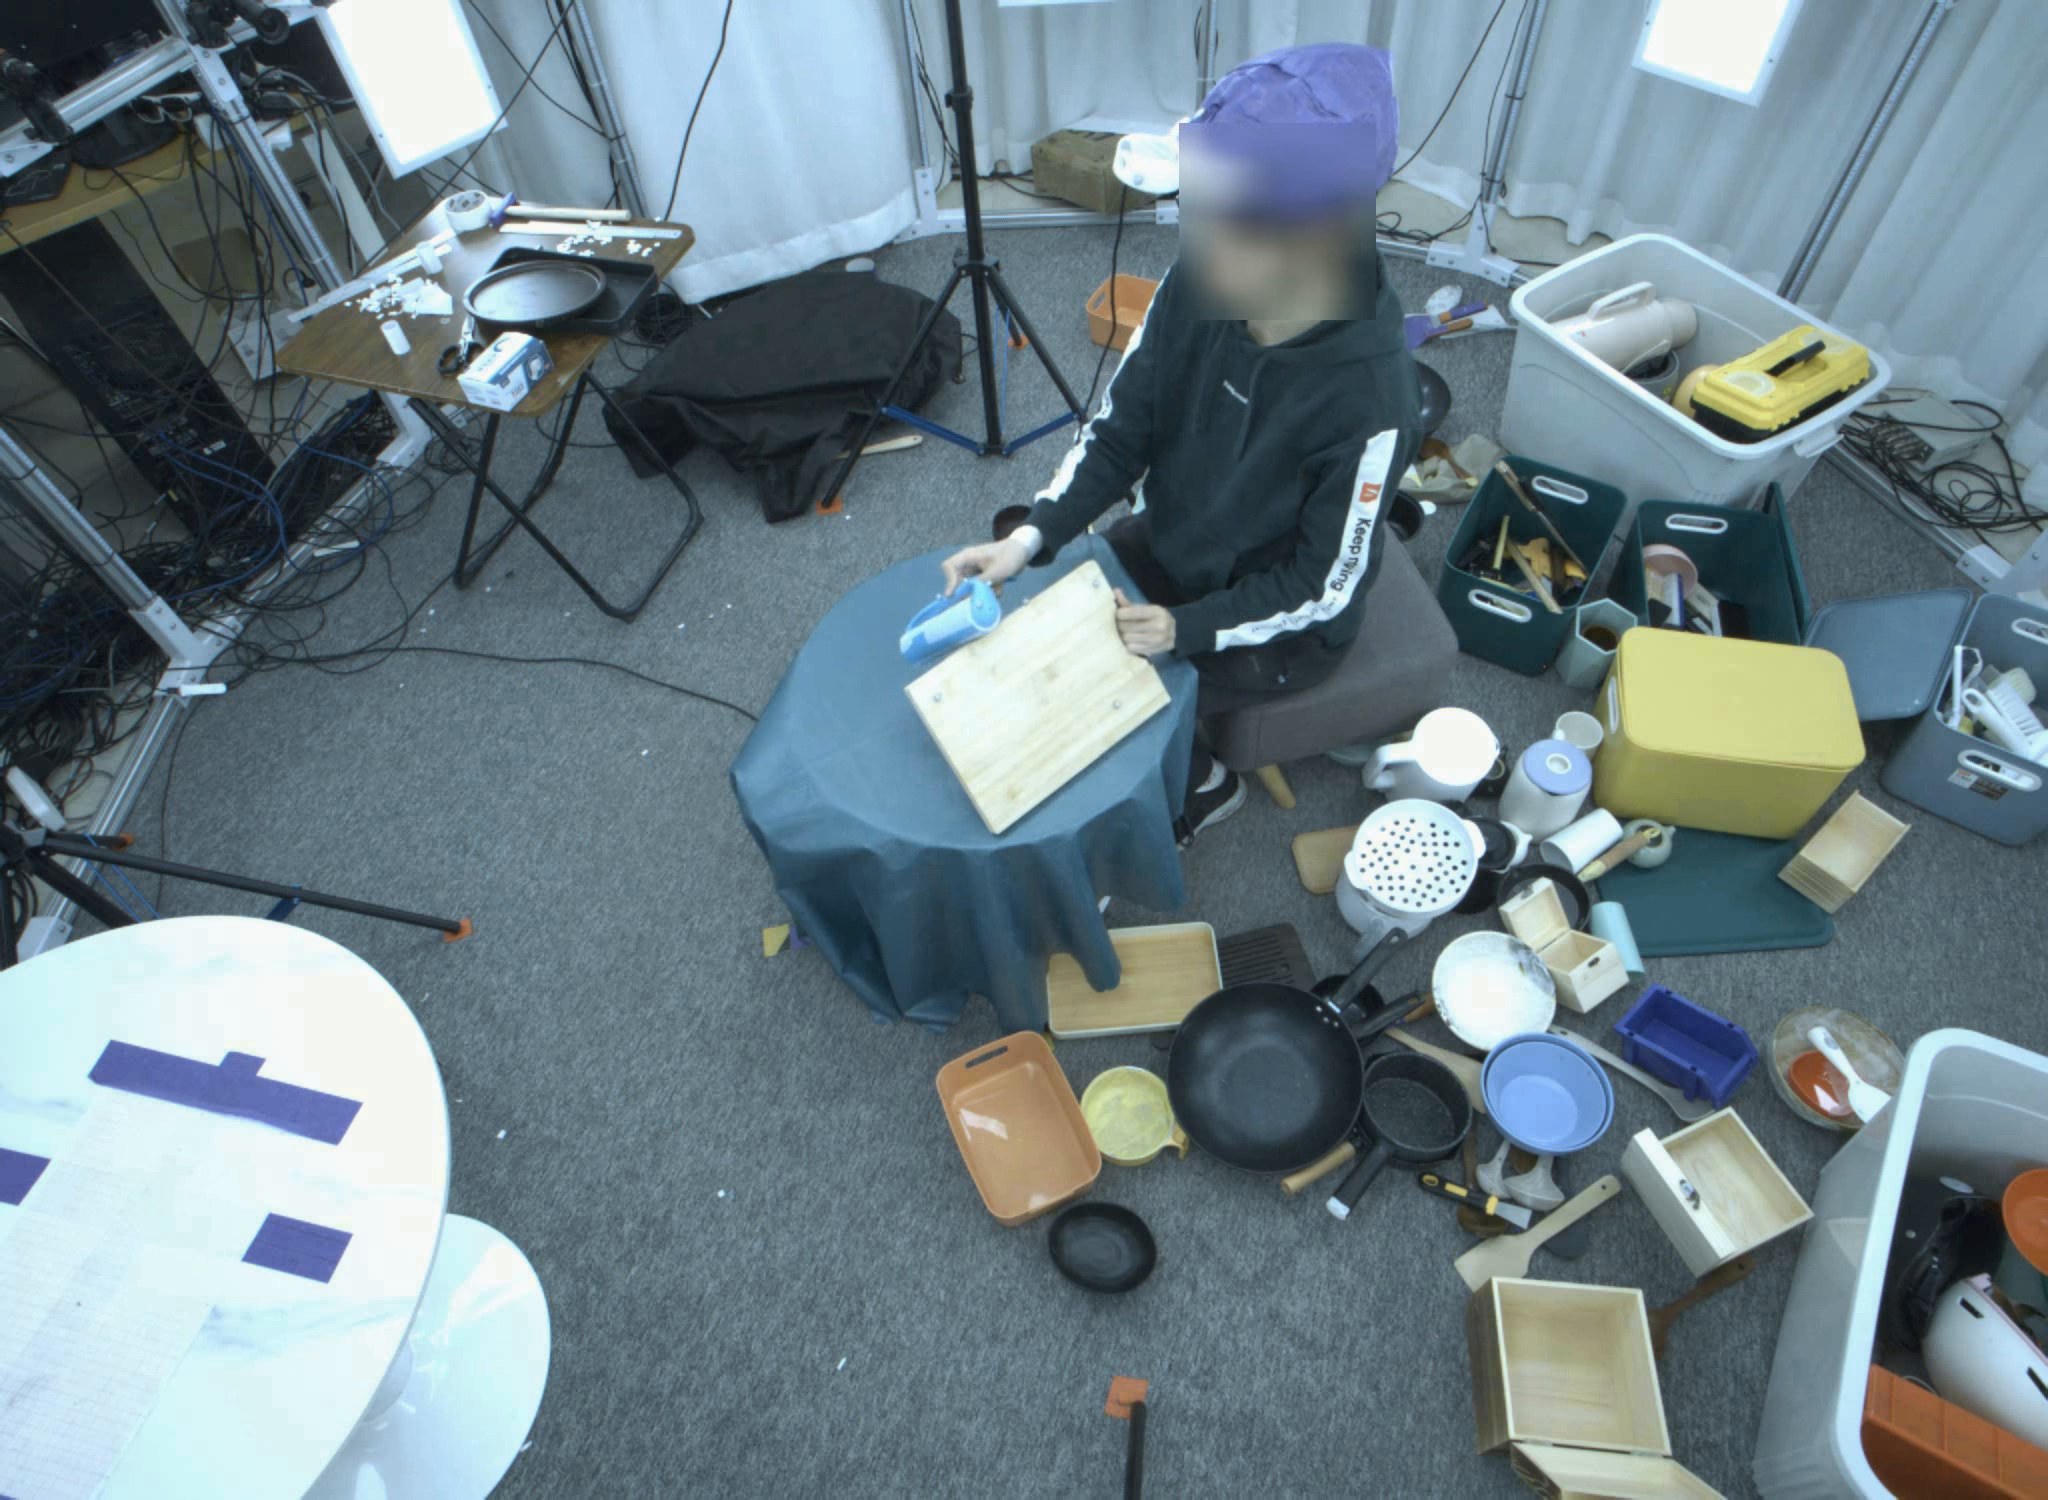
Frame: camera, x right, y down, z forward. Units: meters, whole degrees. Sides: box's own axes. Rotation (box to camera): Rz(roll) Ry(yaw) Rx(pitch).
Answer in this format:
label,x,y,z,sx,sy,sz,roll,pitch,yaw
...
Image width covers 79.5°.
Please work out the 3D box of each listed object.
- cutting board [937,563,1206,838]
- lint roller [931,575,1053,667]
label,x,y,z,sx,sy,sz,roll,pitch,yaw
cutting board,0.072,-0.072,1.715,0.351,0.253,0.023,-36,19,-20
lint roller,-0.030,-0.204,1.733,0.069,0.225,0.181,48,56,-15
